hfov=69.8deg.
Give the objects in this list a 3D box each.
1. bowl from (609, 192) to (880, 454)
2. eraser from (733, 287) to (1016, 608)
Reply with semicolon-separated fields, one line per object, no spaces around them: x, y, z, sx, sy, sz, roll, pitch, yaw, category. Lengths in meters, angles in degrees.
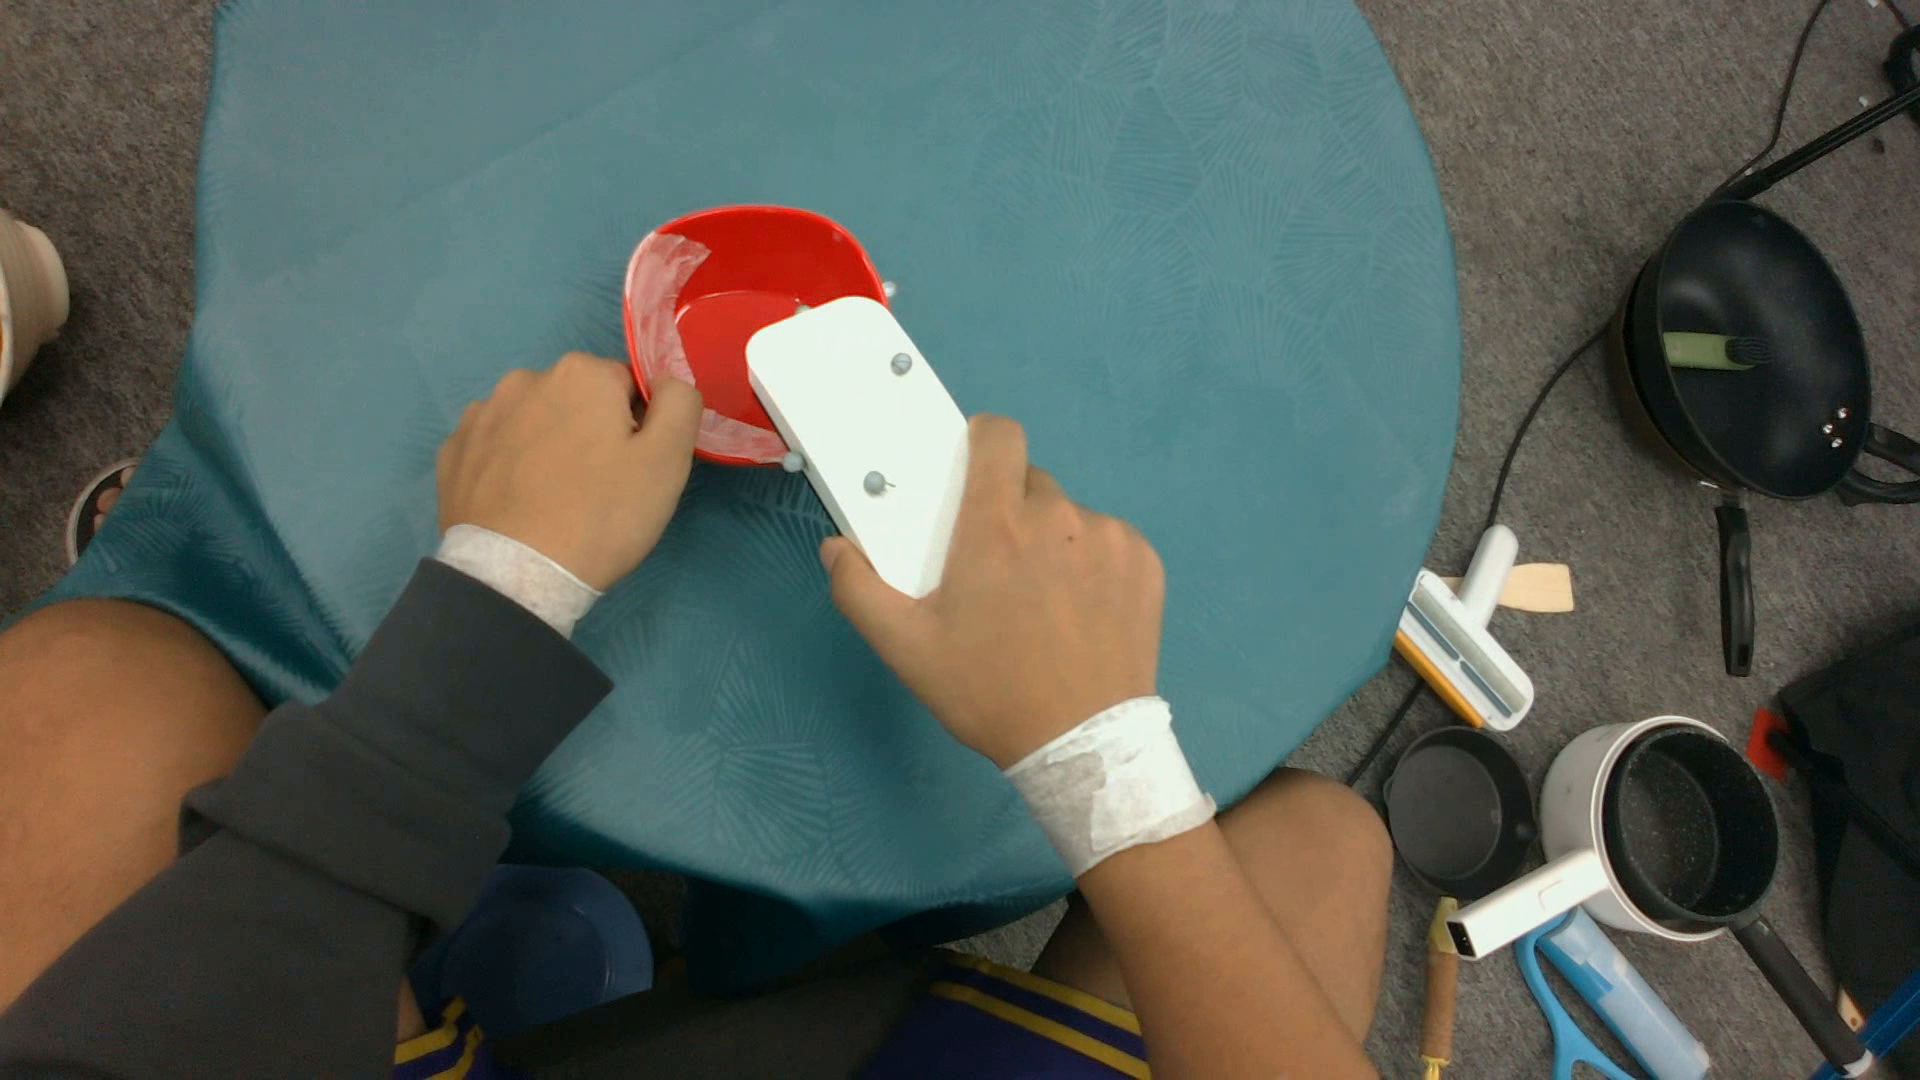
-0.093;-0.086;0.583;0.119;0.051;0.119;4;78;-19;bowl
-0.035;-0.037;0.523;0.063;0.034;0.131;-25;69;-21;eraser
